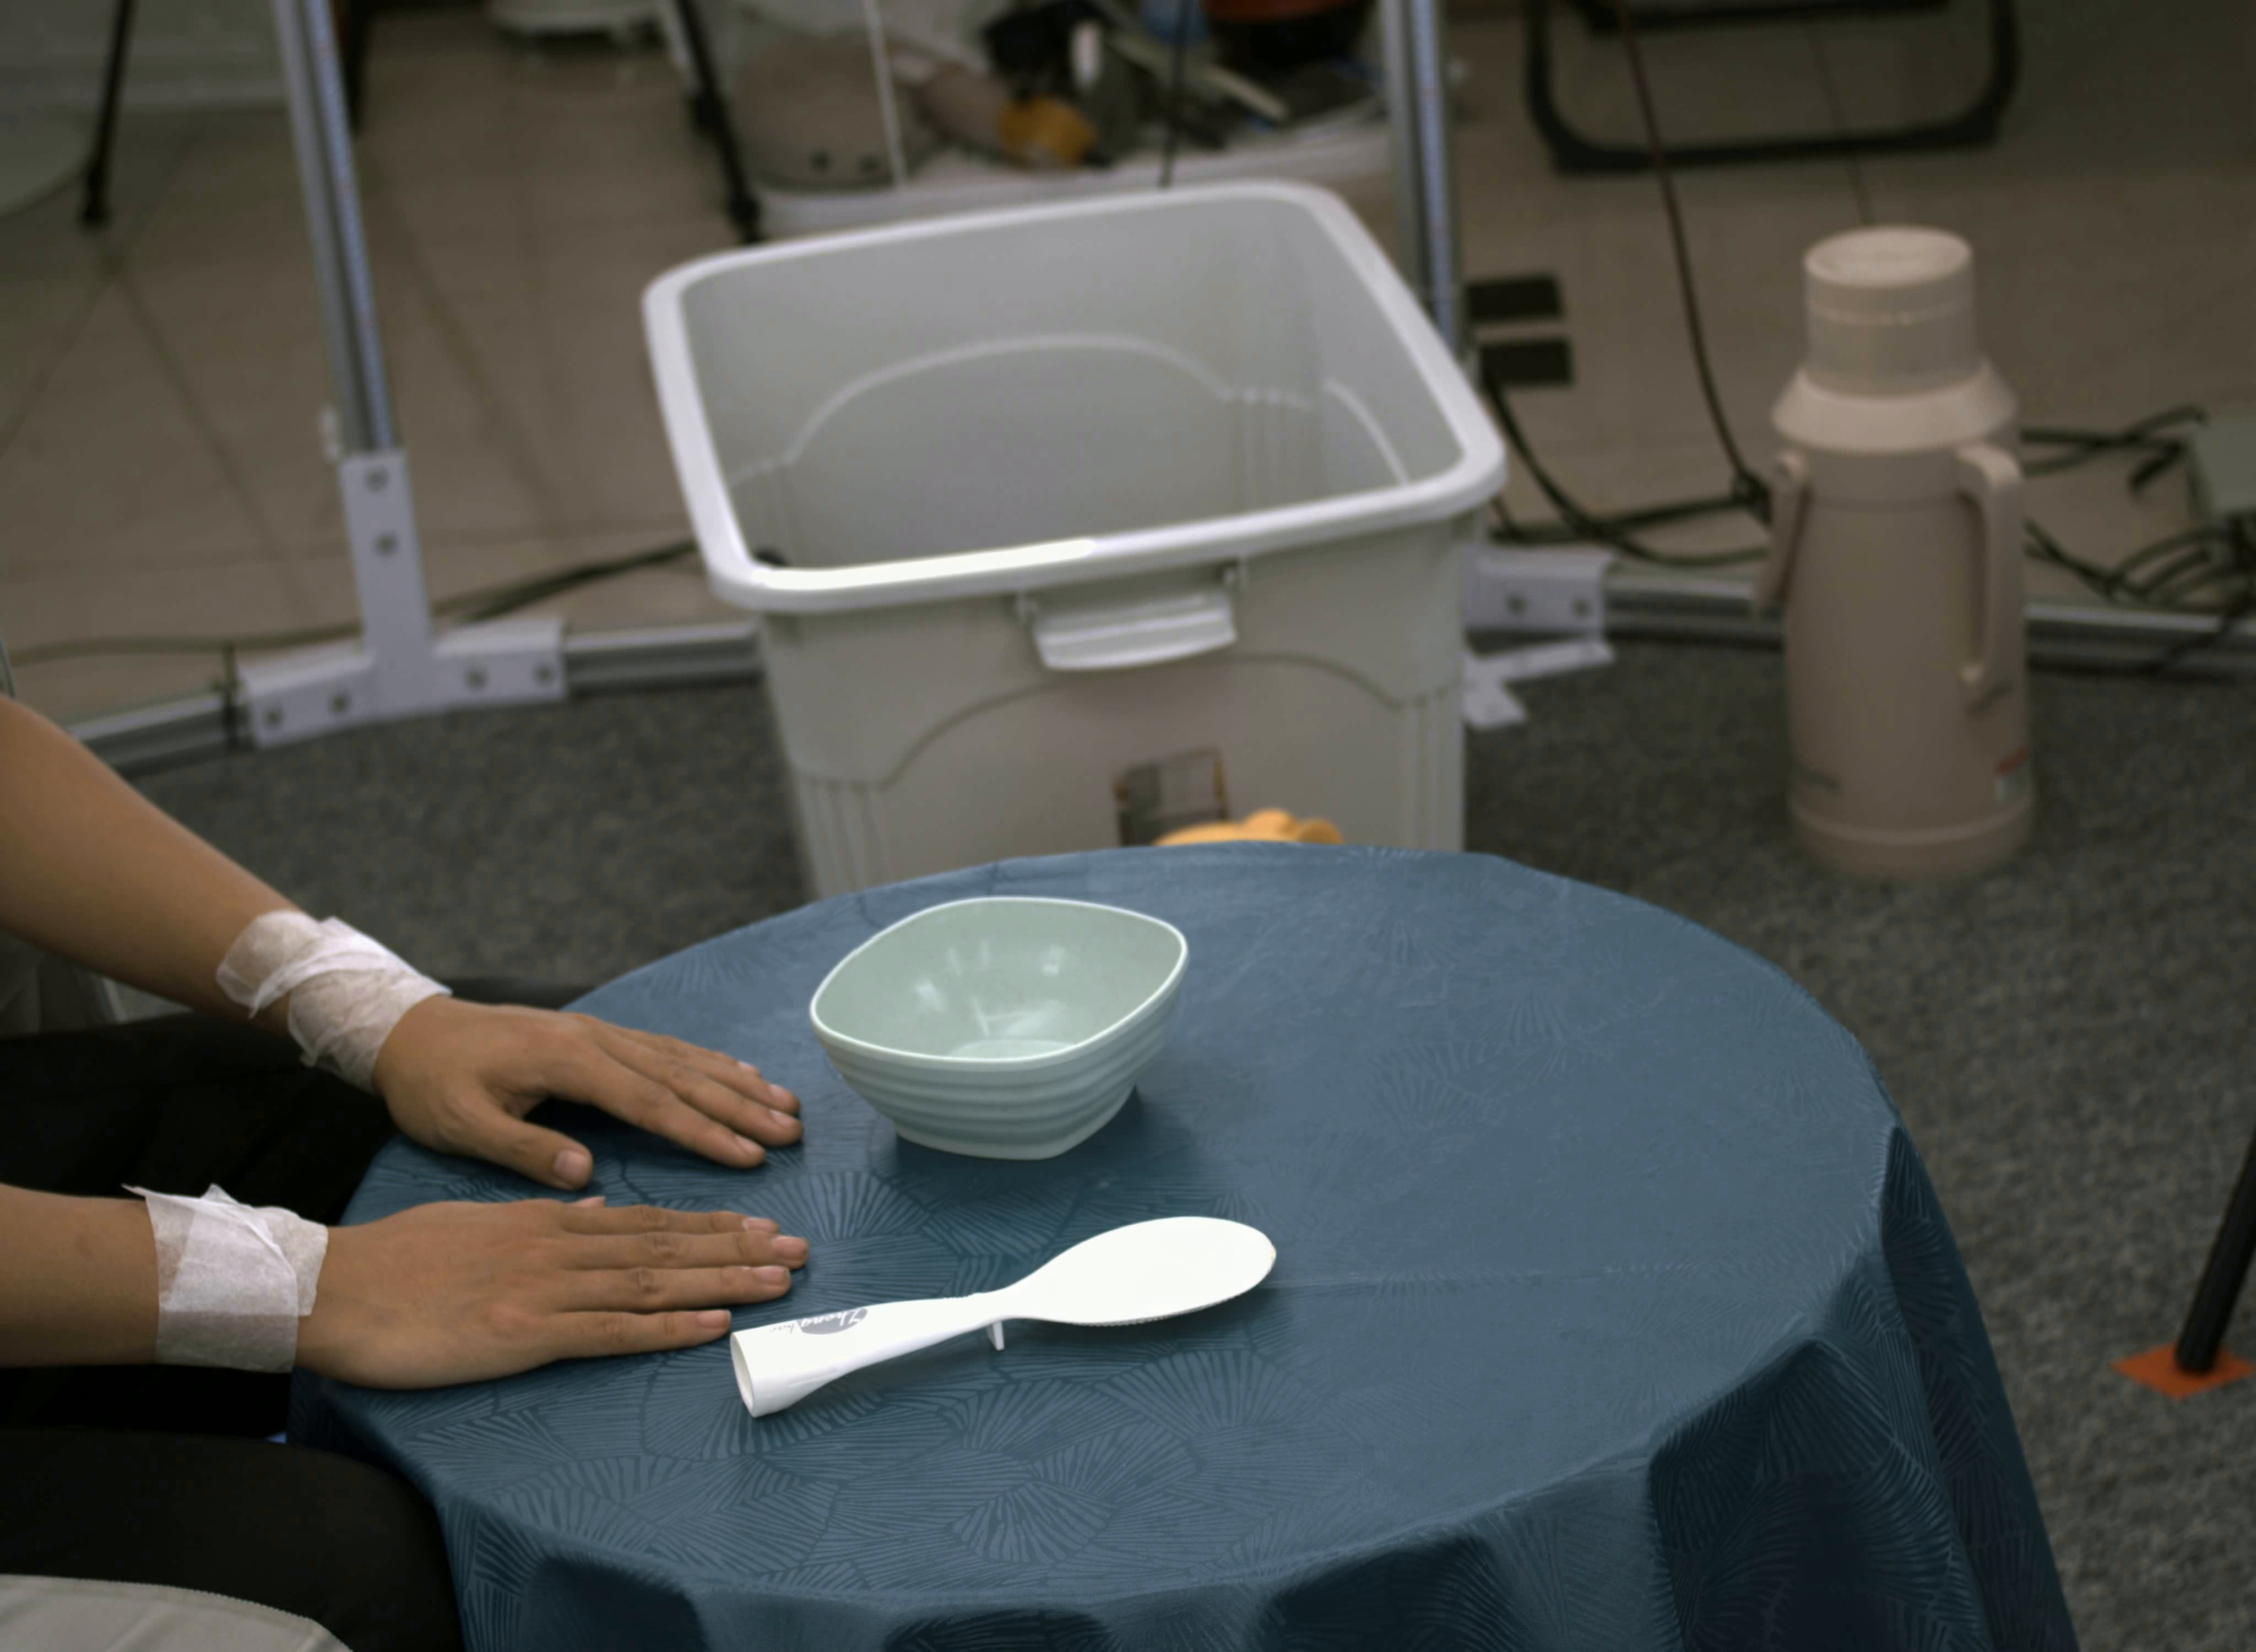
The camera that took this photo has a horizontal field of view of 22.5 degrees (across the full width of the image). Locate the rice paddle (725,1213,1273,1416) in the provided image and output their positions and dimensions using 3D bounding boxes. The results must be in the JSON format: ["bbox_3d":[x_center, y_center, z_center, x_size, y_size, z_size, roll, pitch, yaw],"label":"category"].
[{"bbox_3d":[-0.045,0.172,2.054,0.204,0.030,0.068,-14,27,-15],"label":"rice paddle"}]

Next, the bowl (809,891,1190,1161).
[{"bbox_3d":[-0.048,0.084,2.214,0.151,0.059,0.149,-4,27,2],"label":"bowl"}]
